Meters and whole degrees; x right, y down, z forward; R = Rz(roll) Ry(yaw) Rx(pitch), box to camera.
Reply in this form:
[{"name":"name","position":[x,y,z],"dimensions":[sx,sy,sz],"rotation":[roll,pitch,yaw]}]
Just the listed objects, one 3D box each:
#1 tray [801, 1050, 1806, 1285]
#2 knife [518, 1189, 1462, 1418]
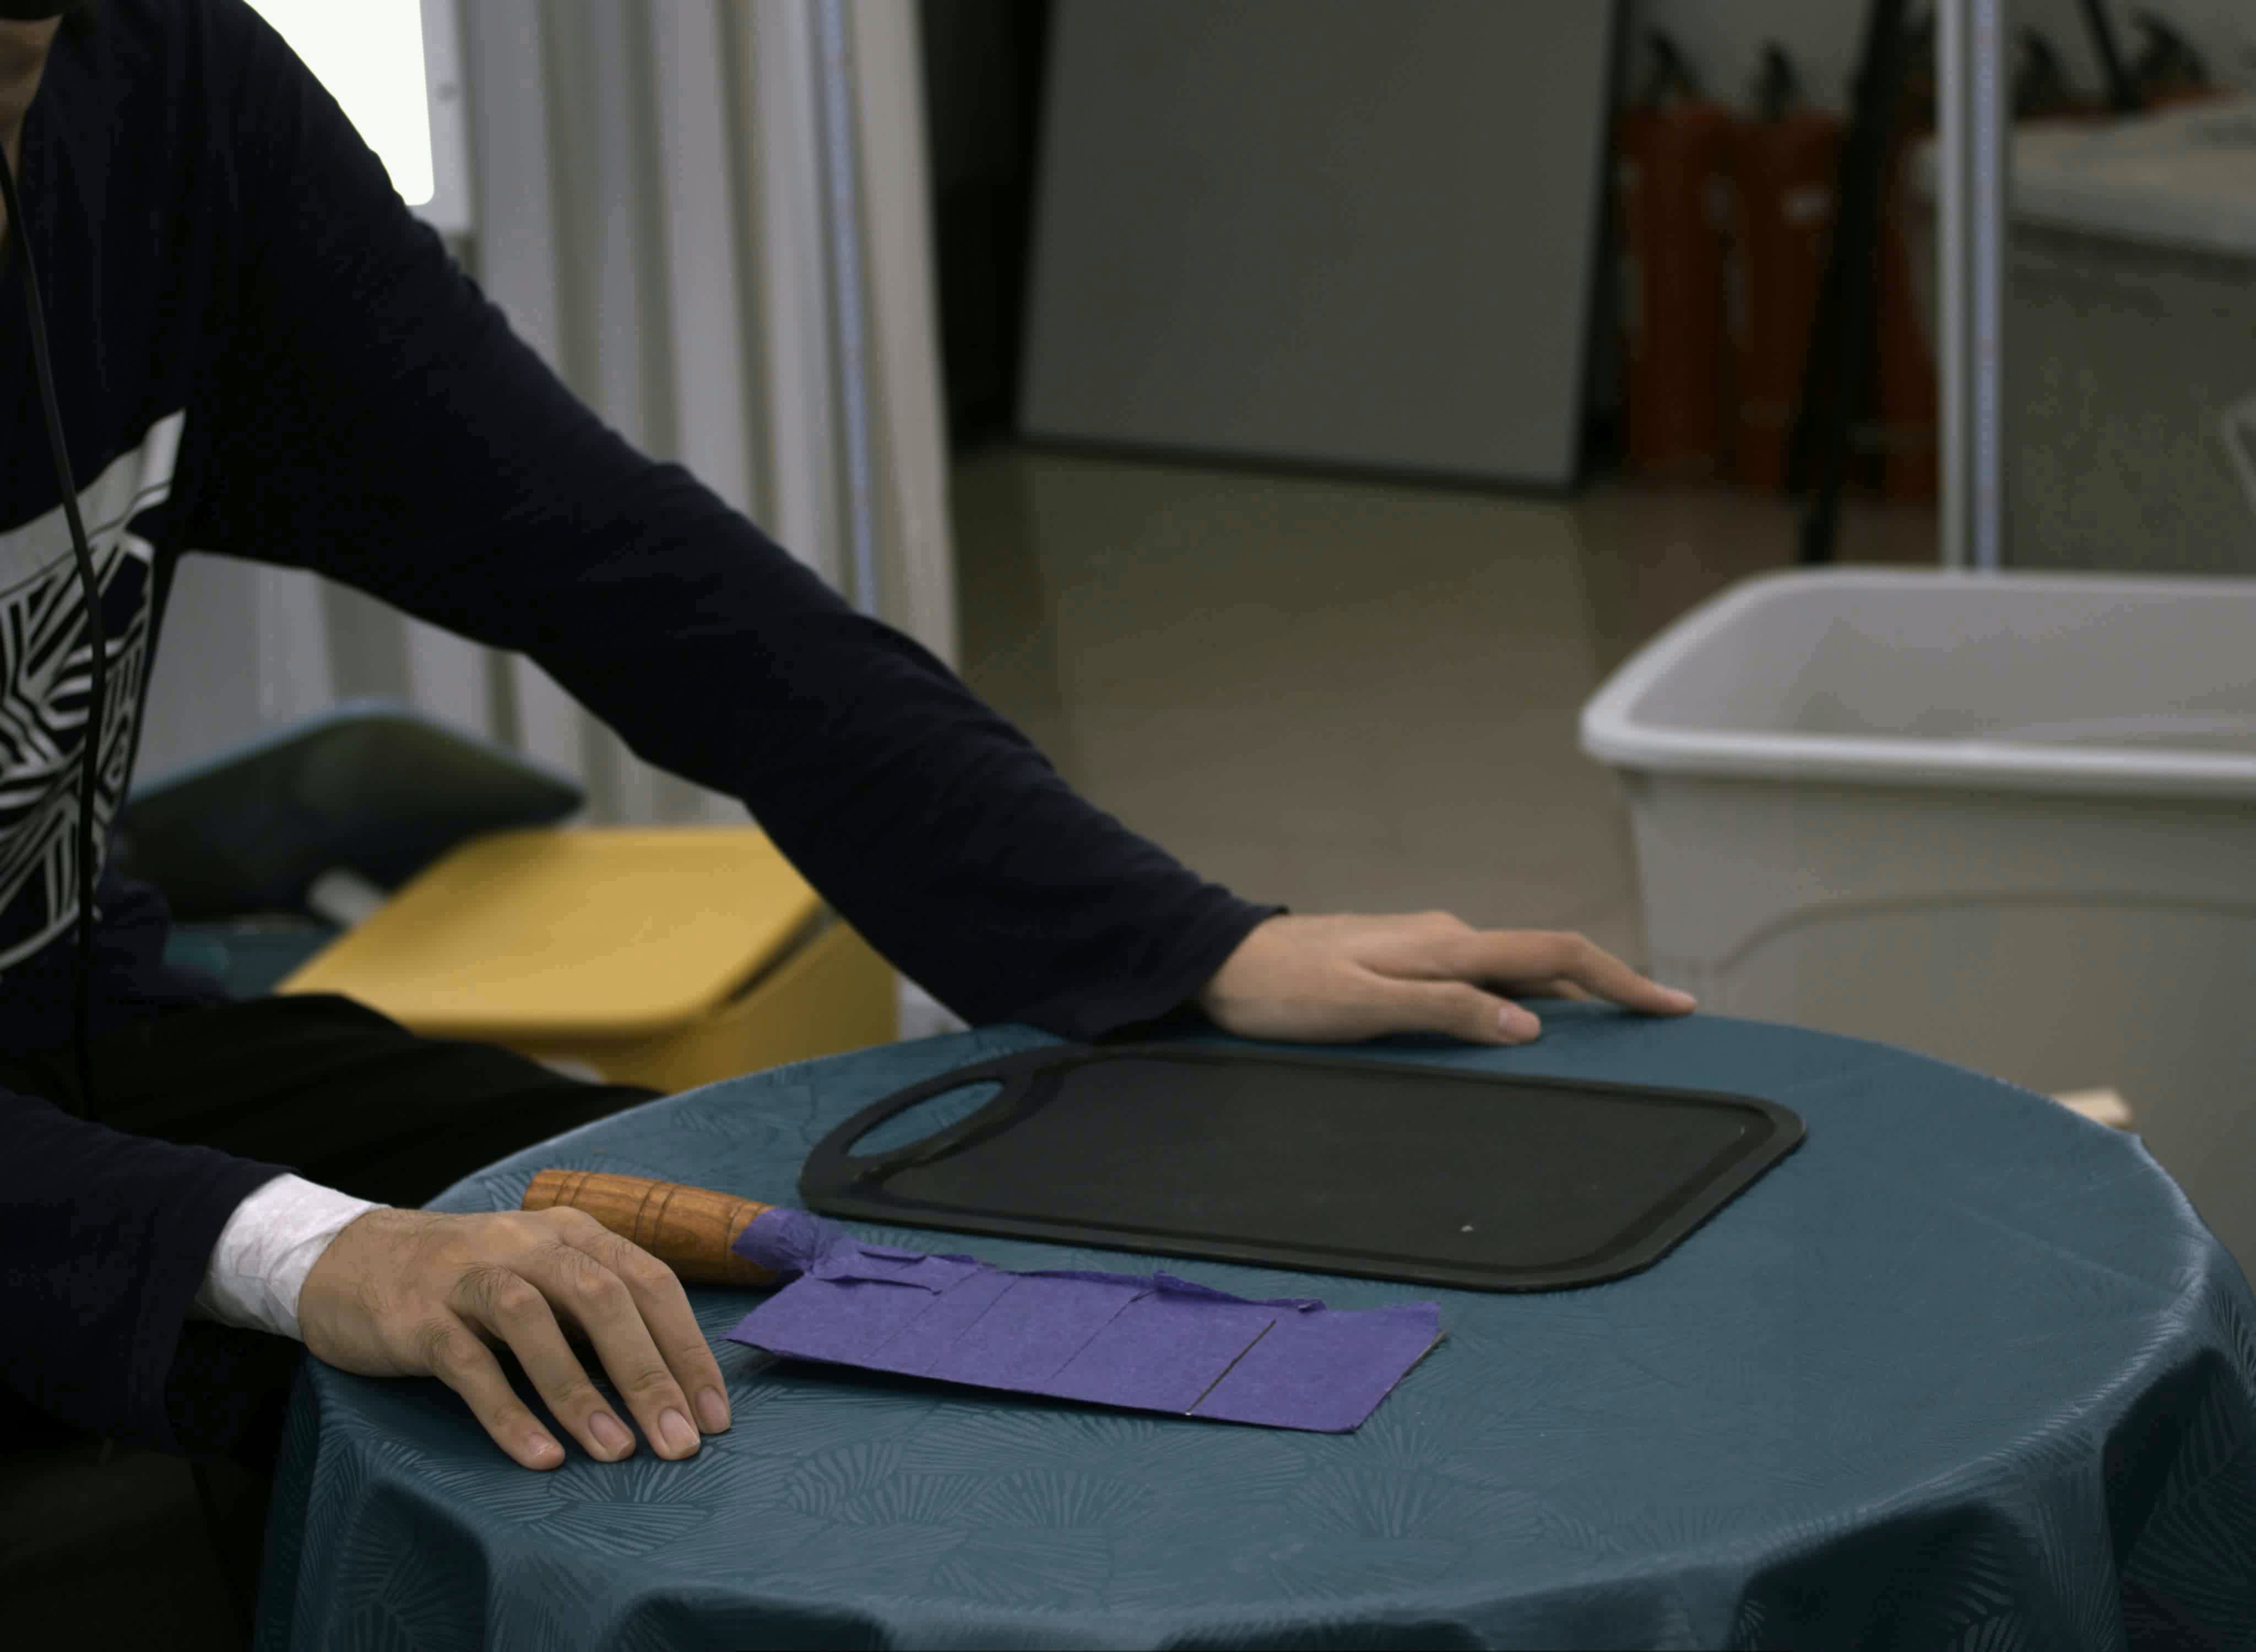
[{"name":"tray","position":[0.051,0.110,1.795],"dimensions":[0.326,0.010,0.208],"rotation":[3,15,29]},{"name":"knife","position":[-0.059,0.145,1.639],"dimensions":[0.315,0.032,0.102],"rotation":[3,15,25]}]
